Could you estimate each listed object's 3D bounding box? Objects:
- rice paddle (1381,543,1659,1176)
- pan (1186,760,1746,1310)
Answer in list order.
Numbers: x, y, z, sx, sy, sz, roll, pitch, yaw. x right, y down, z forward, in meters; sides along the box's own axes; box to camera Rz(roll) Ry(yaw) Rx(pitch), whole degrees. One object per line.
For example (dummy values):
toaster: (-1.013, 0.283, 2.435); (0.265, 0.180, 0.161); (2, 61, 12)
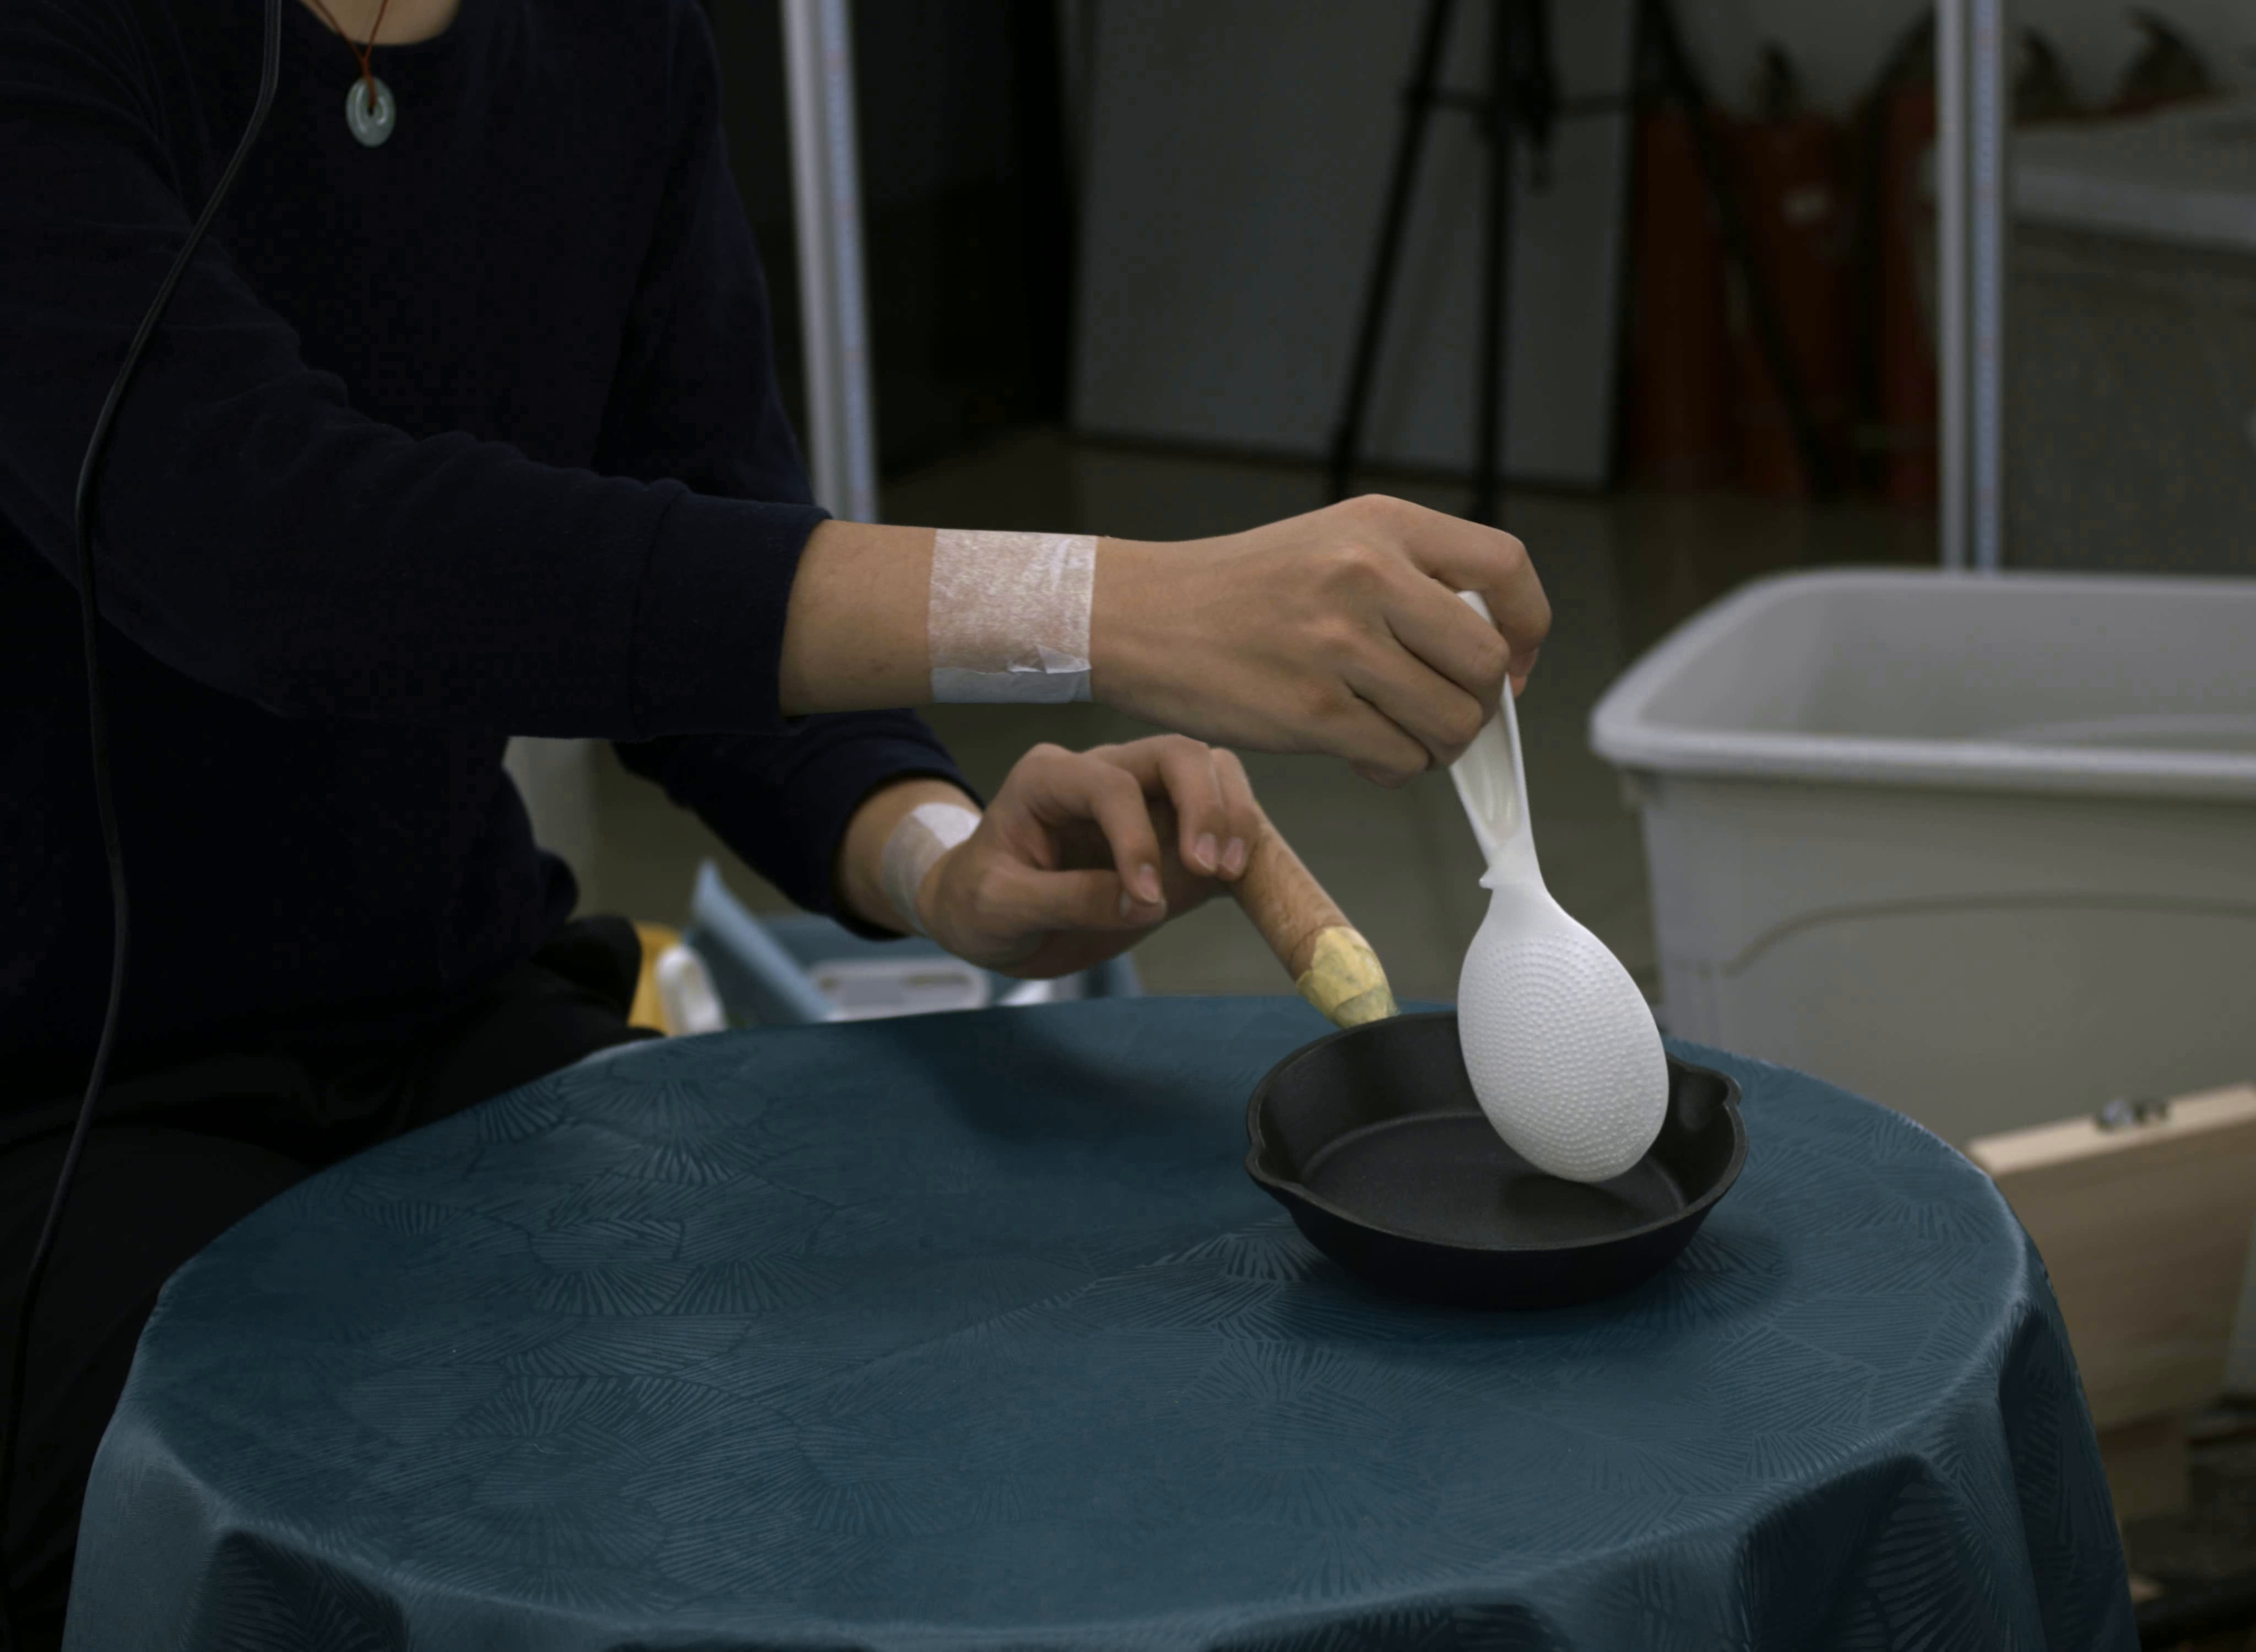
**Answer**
rice paddle: (0.119, 0.014, 1.673); (0.069, 0.207, 0.029); (-7, 18, 30)
pan: (0.086, 0.064, 1.750); (0.165, 0.050, 0.327); (-9, 28, -17)
